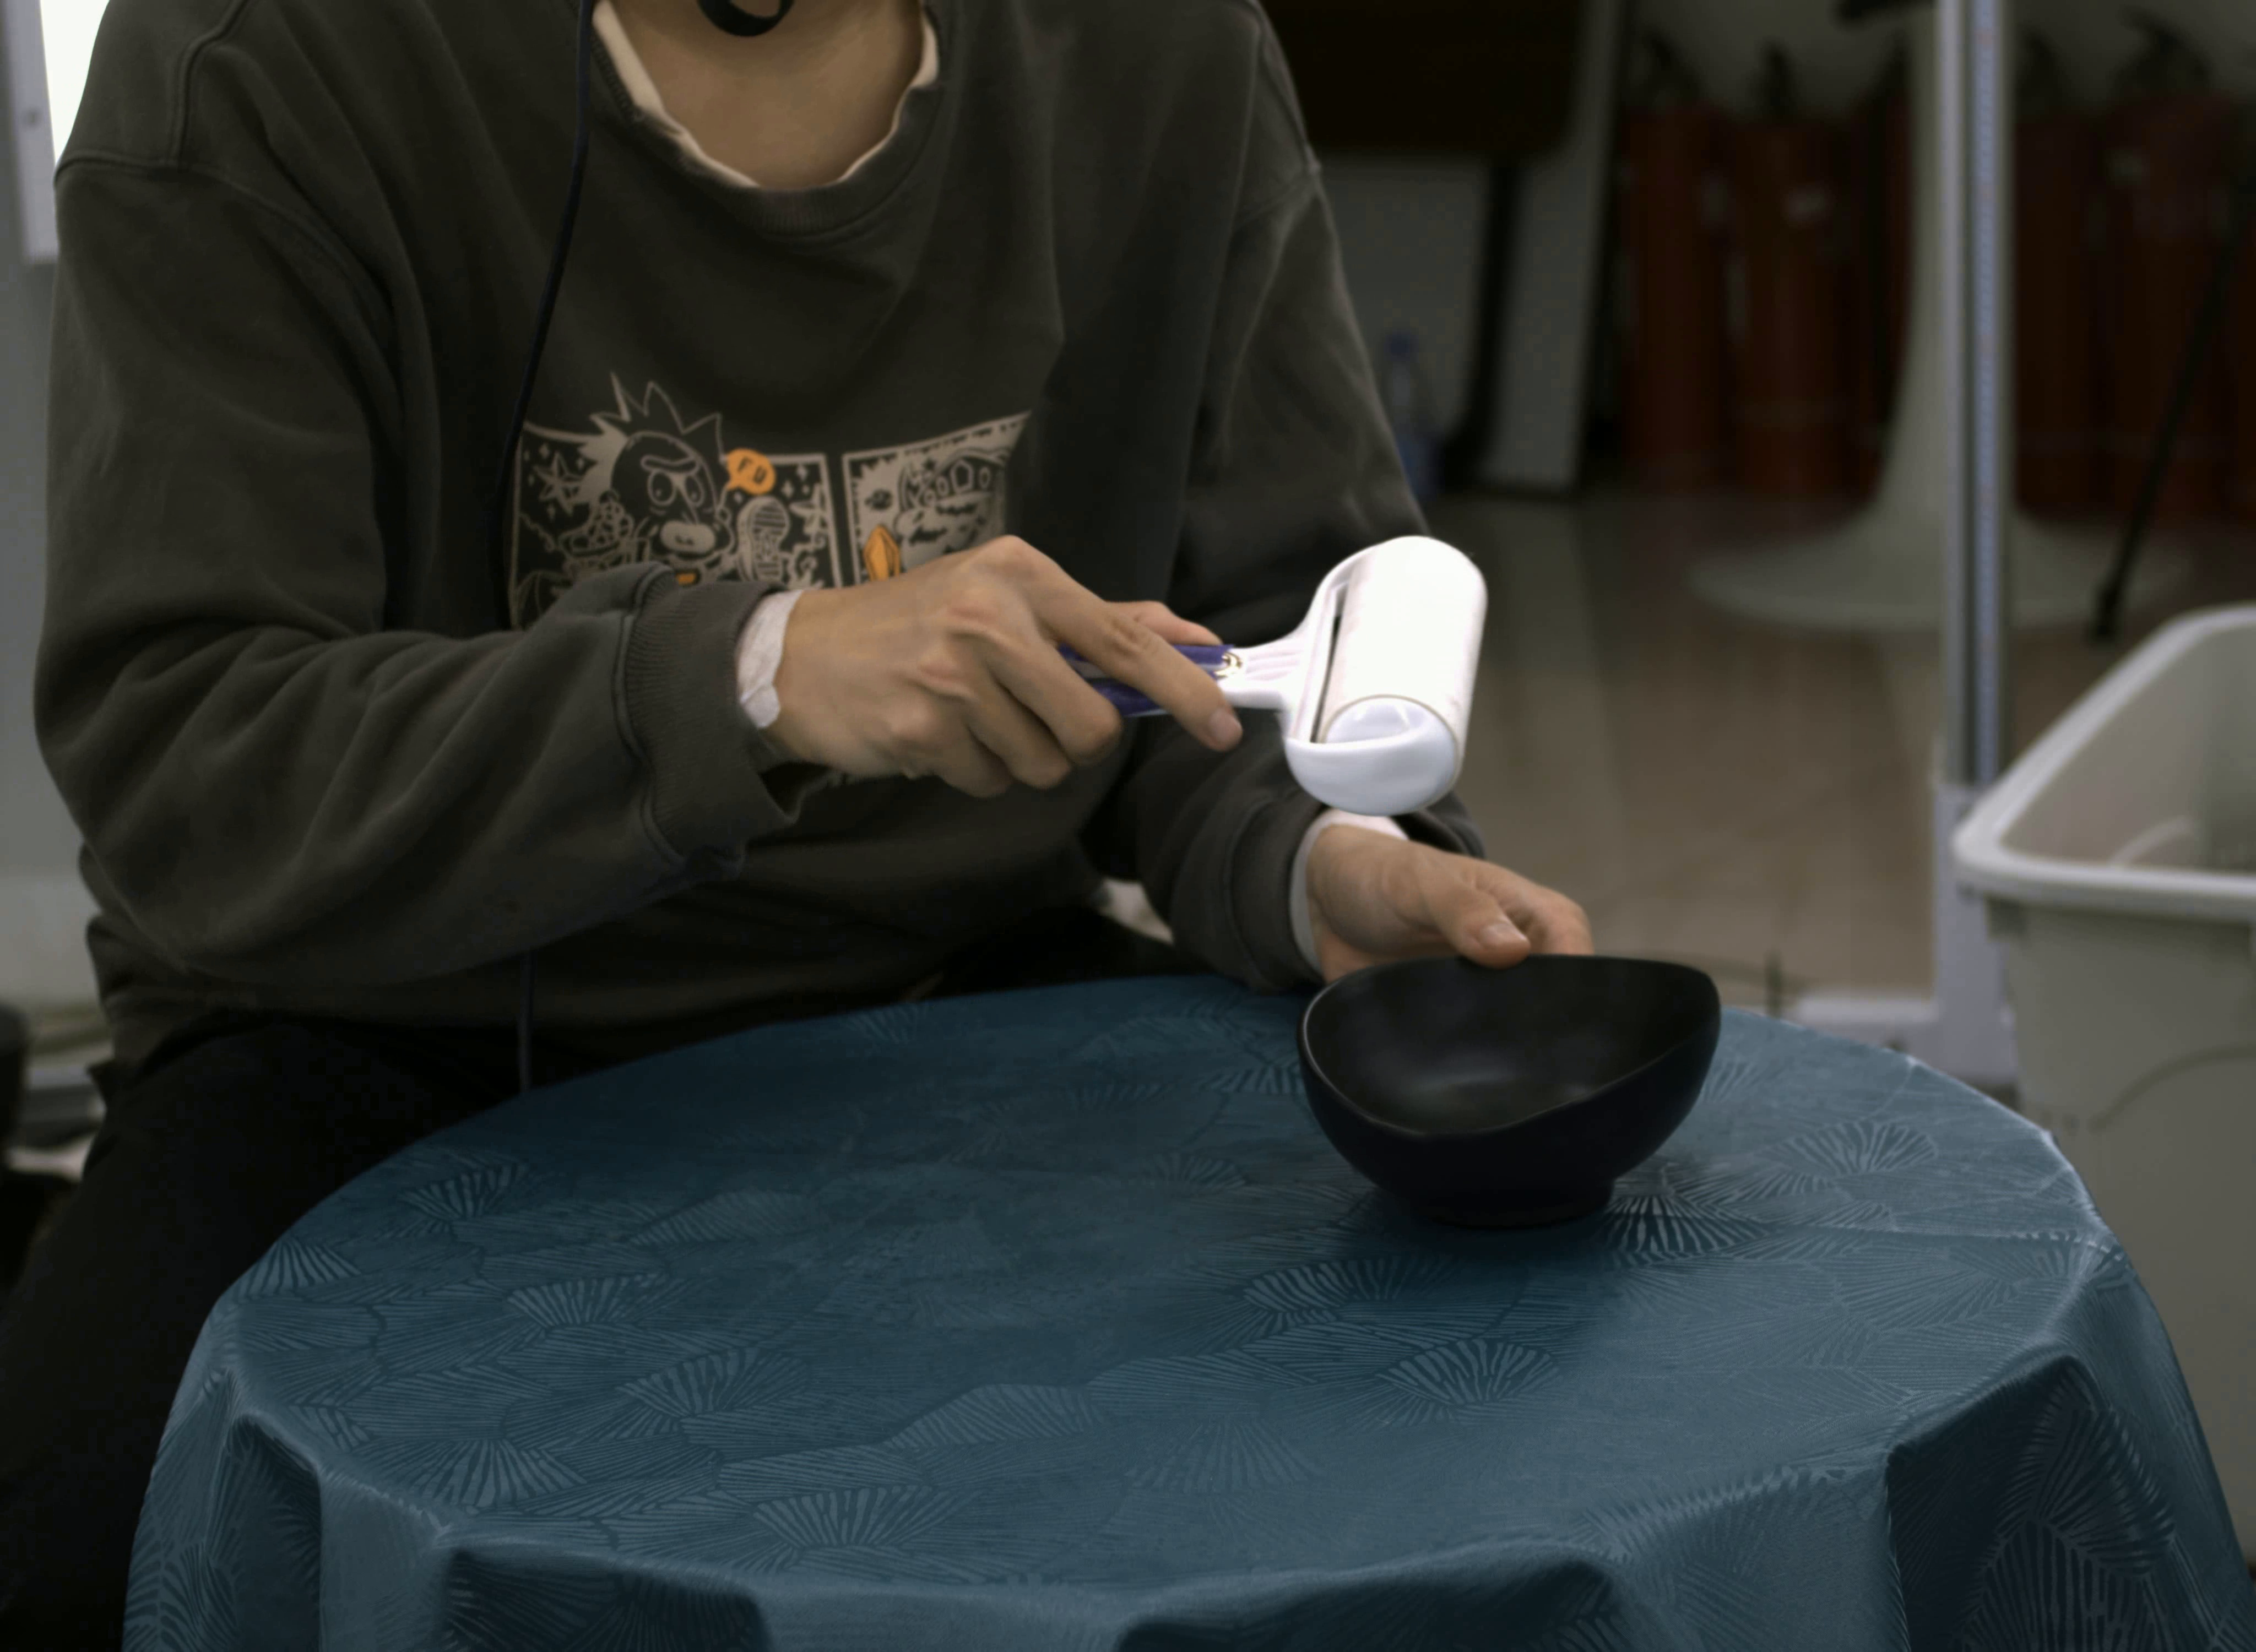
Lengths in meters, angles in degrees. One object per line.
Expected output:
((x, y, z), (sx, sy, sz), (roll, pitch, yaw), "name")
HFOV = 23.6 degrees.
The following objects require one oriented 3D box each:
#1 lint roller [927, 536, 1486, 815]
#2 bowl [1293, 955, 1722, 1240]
((0.024, -0.056, 1.734), (0.179, 0.050, 0.133), (7, 33, 8), "lint roller")
((0.123, 0.091, 1.731), (0.137, 0.067, 0.169), (-1, 16, 19), "bowl")
